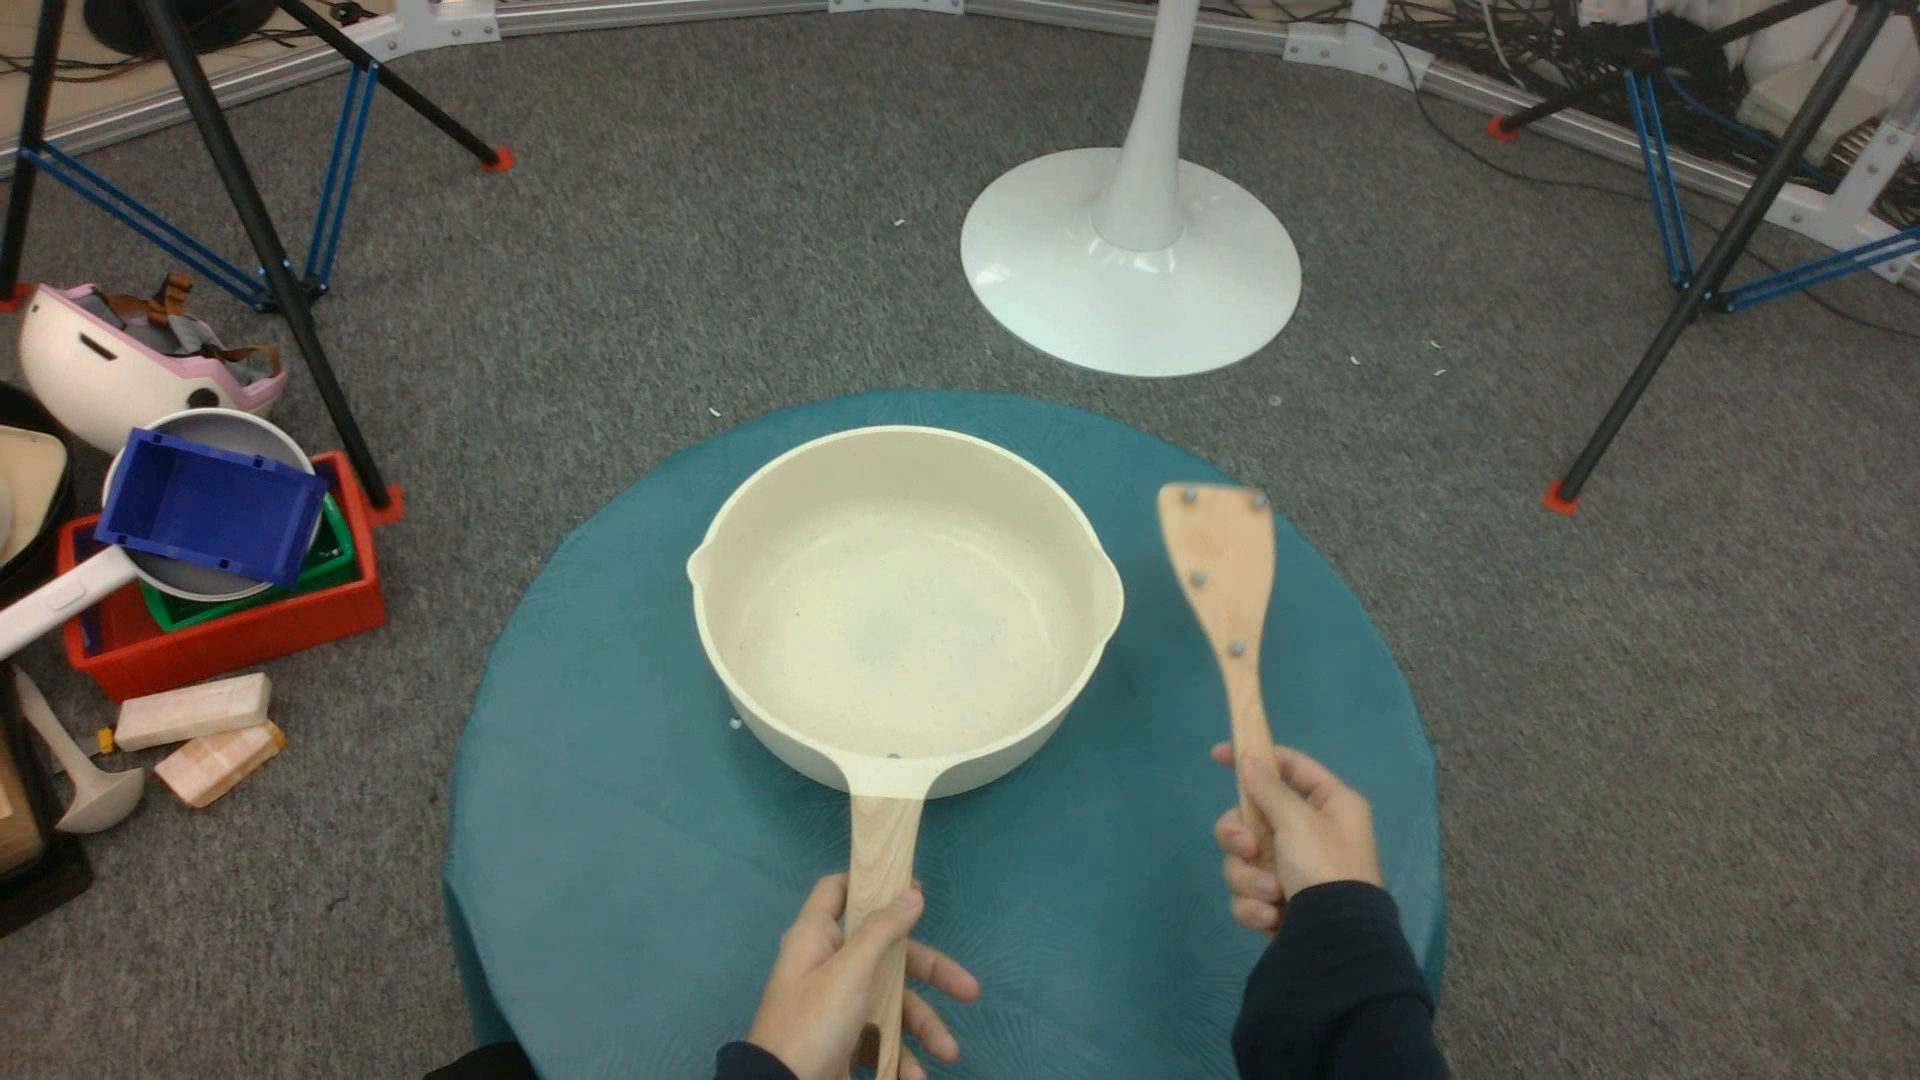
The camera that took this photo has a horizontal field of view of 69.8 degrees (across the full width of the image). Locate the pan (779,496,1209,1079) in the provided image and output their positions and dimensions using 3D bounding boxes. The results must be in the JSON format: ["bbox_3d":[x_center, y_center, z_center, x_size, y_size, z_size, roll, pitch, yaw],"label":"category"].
[{"bbox_3d":[0.011,0.159,0.803,0.263,0.101,0.437,5,50,2],"label":"pan"}]

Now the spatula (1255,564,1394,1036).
[{"bbox_3d":[0.213,0.127,0.783,0.080,0.016,0.329,15,41,-6],"label":"spatula"}]
